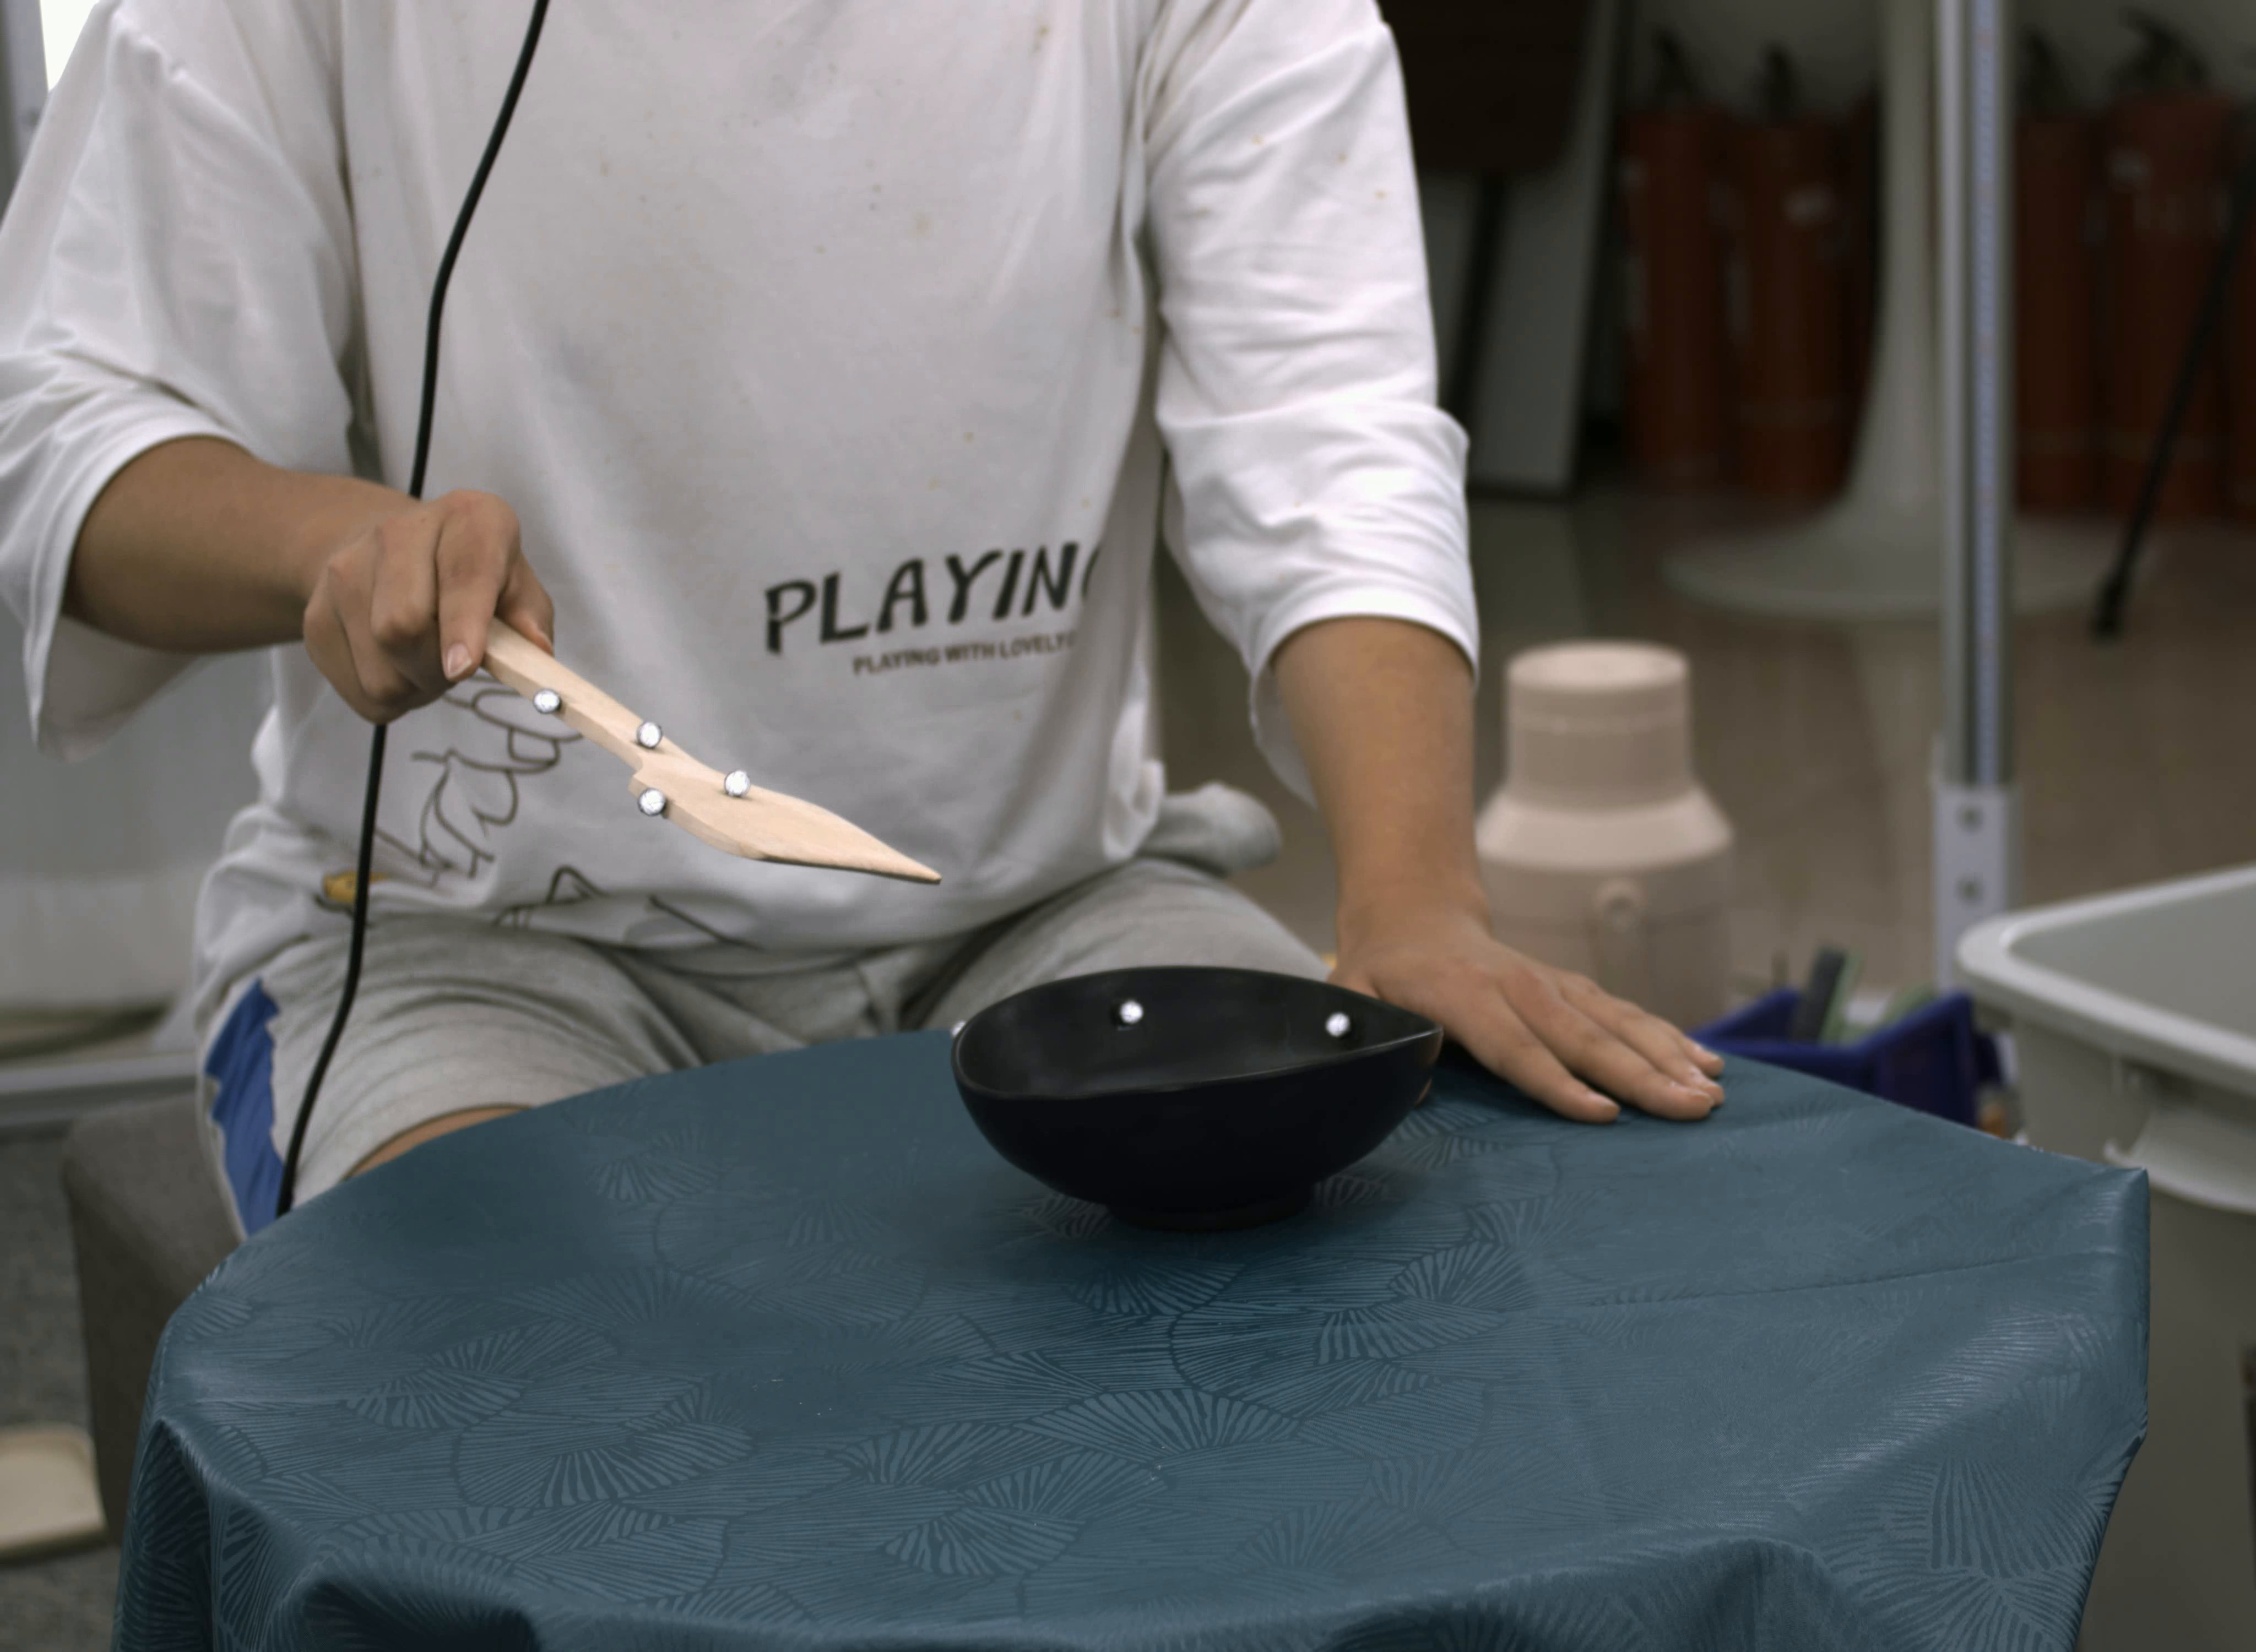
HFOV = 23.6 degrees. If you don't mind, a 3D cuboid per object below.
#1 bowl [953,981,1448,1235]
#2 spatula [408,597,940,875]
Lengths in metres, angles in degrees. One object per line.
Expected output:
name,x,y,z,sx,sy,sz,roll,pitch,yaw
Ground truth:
bowl,0.024,0.093,1.751,0.166,0.067,0.139,-9,13,-29
spatula,-0.161,-0.031,1.738,0.070,0.011,0.296,8,13,-35
